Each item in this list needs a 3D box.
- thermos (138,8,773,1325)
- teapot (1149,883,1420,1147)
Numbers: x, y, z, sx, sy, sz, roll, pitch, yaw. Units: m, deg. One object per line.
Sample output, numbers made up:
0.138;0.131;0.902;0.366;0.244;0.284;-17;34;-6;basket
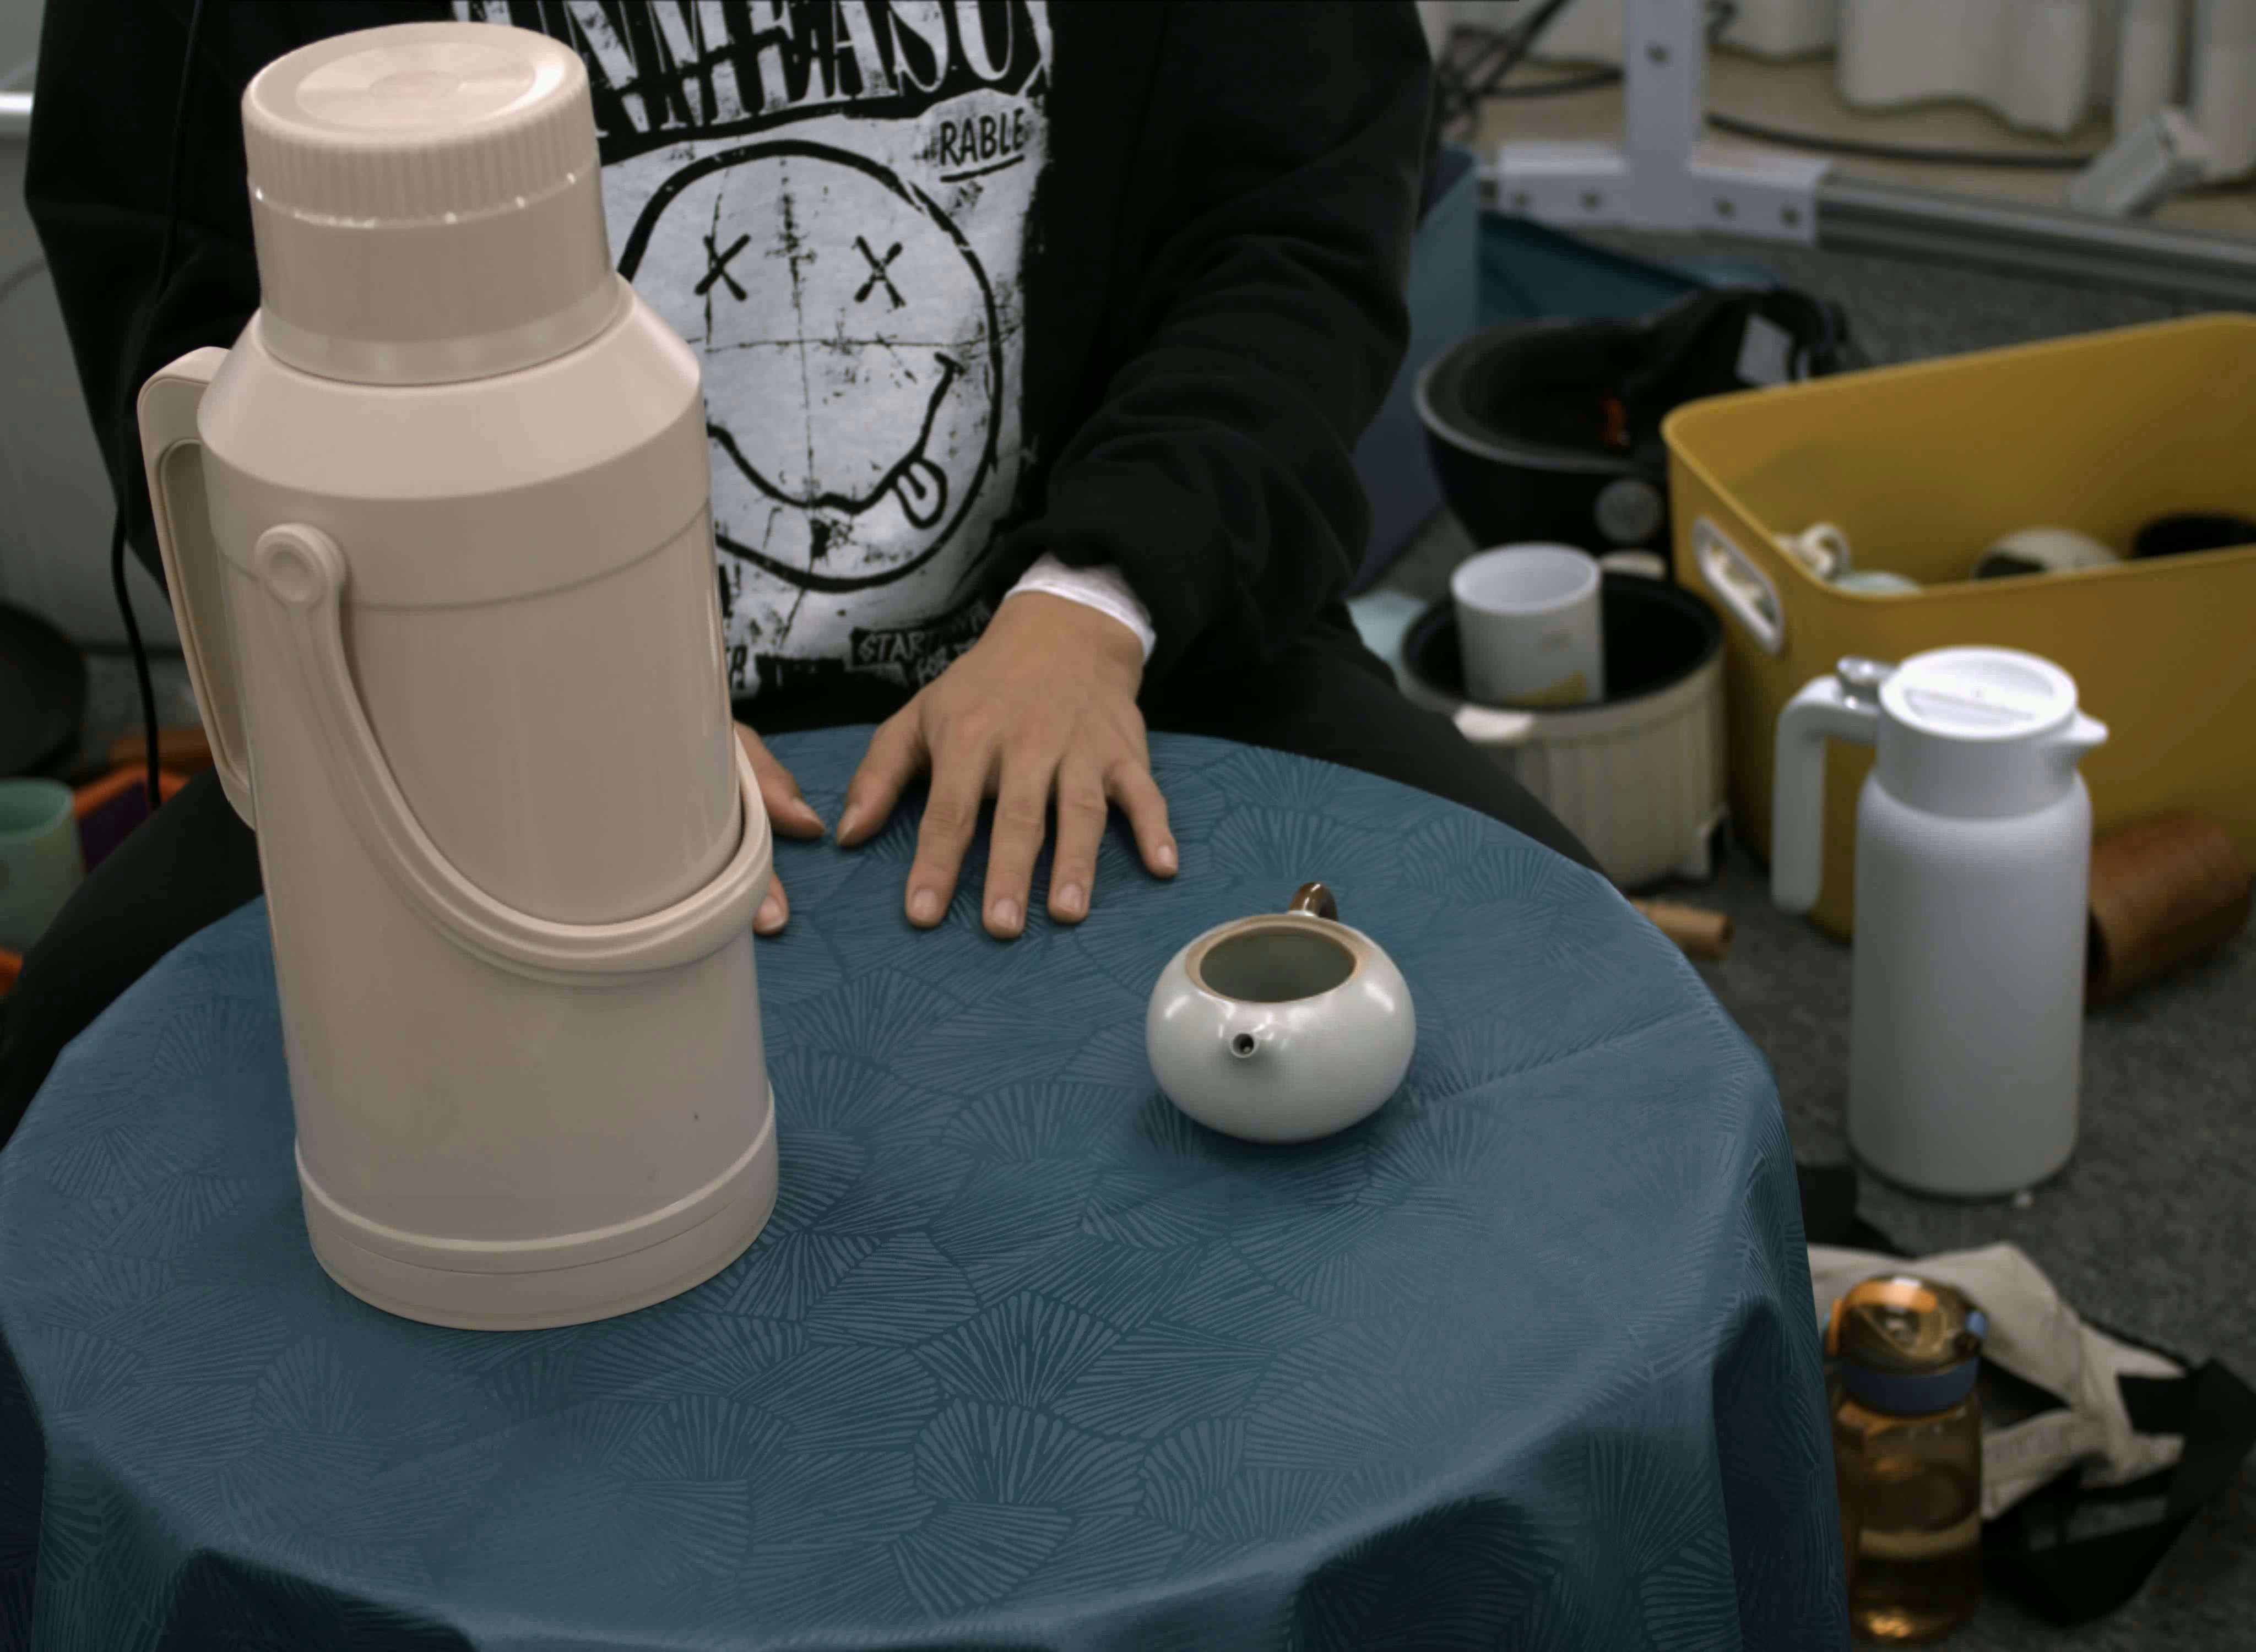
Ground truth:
-0.217;-0.053;1.792;0.206;0.402;0.178;11;31;25;thermos
0.054;0.065;1.900;0.091;0.059;0.130;0;27;13;teapot
